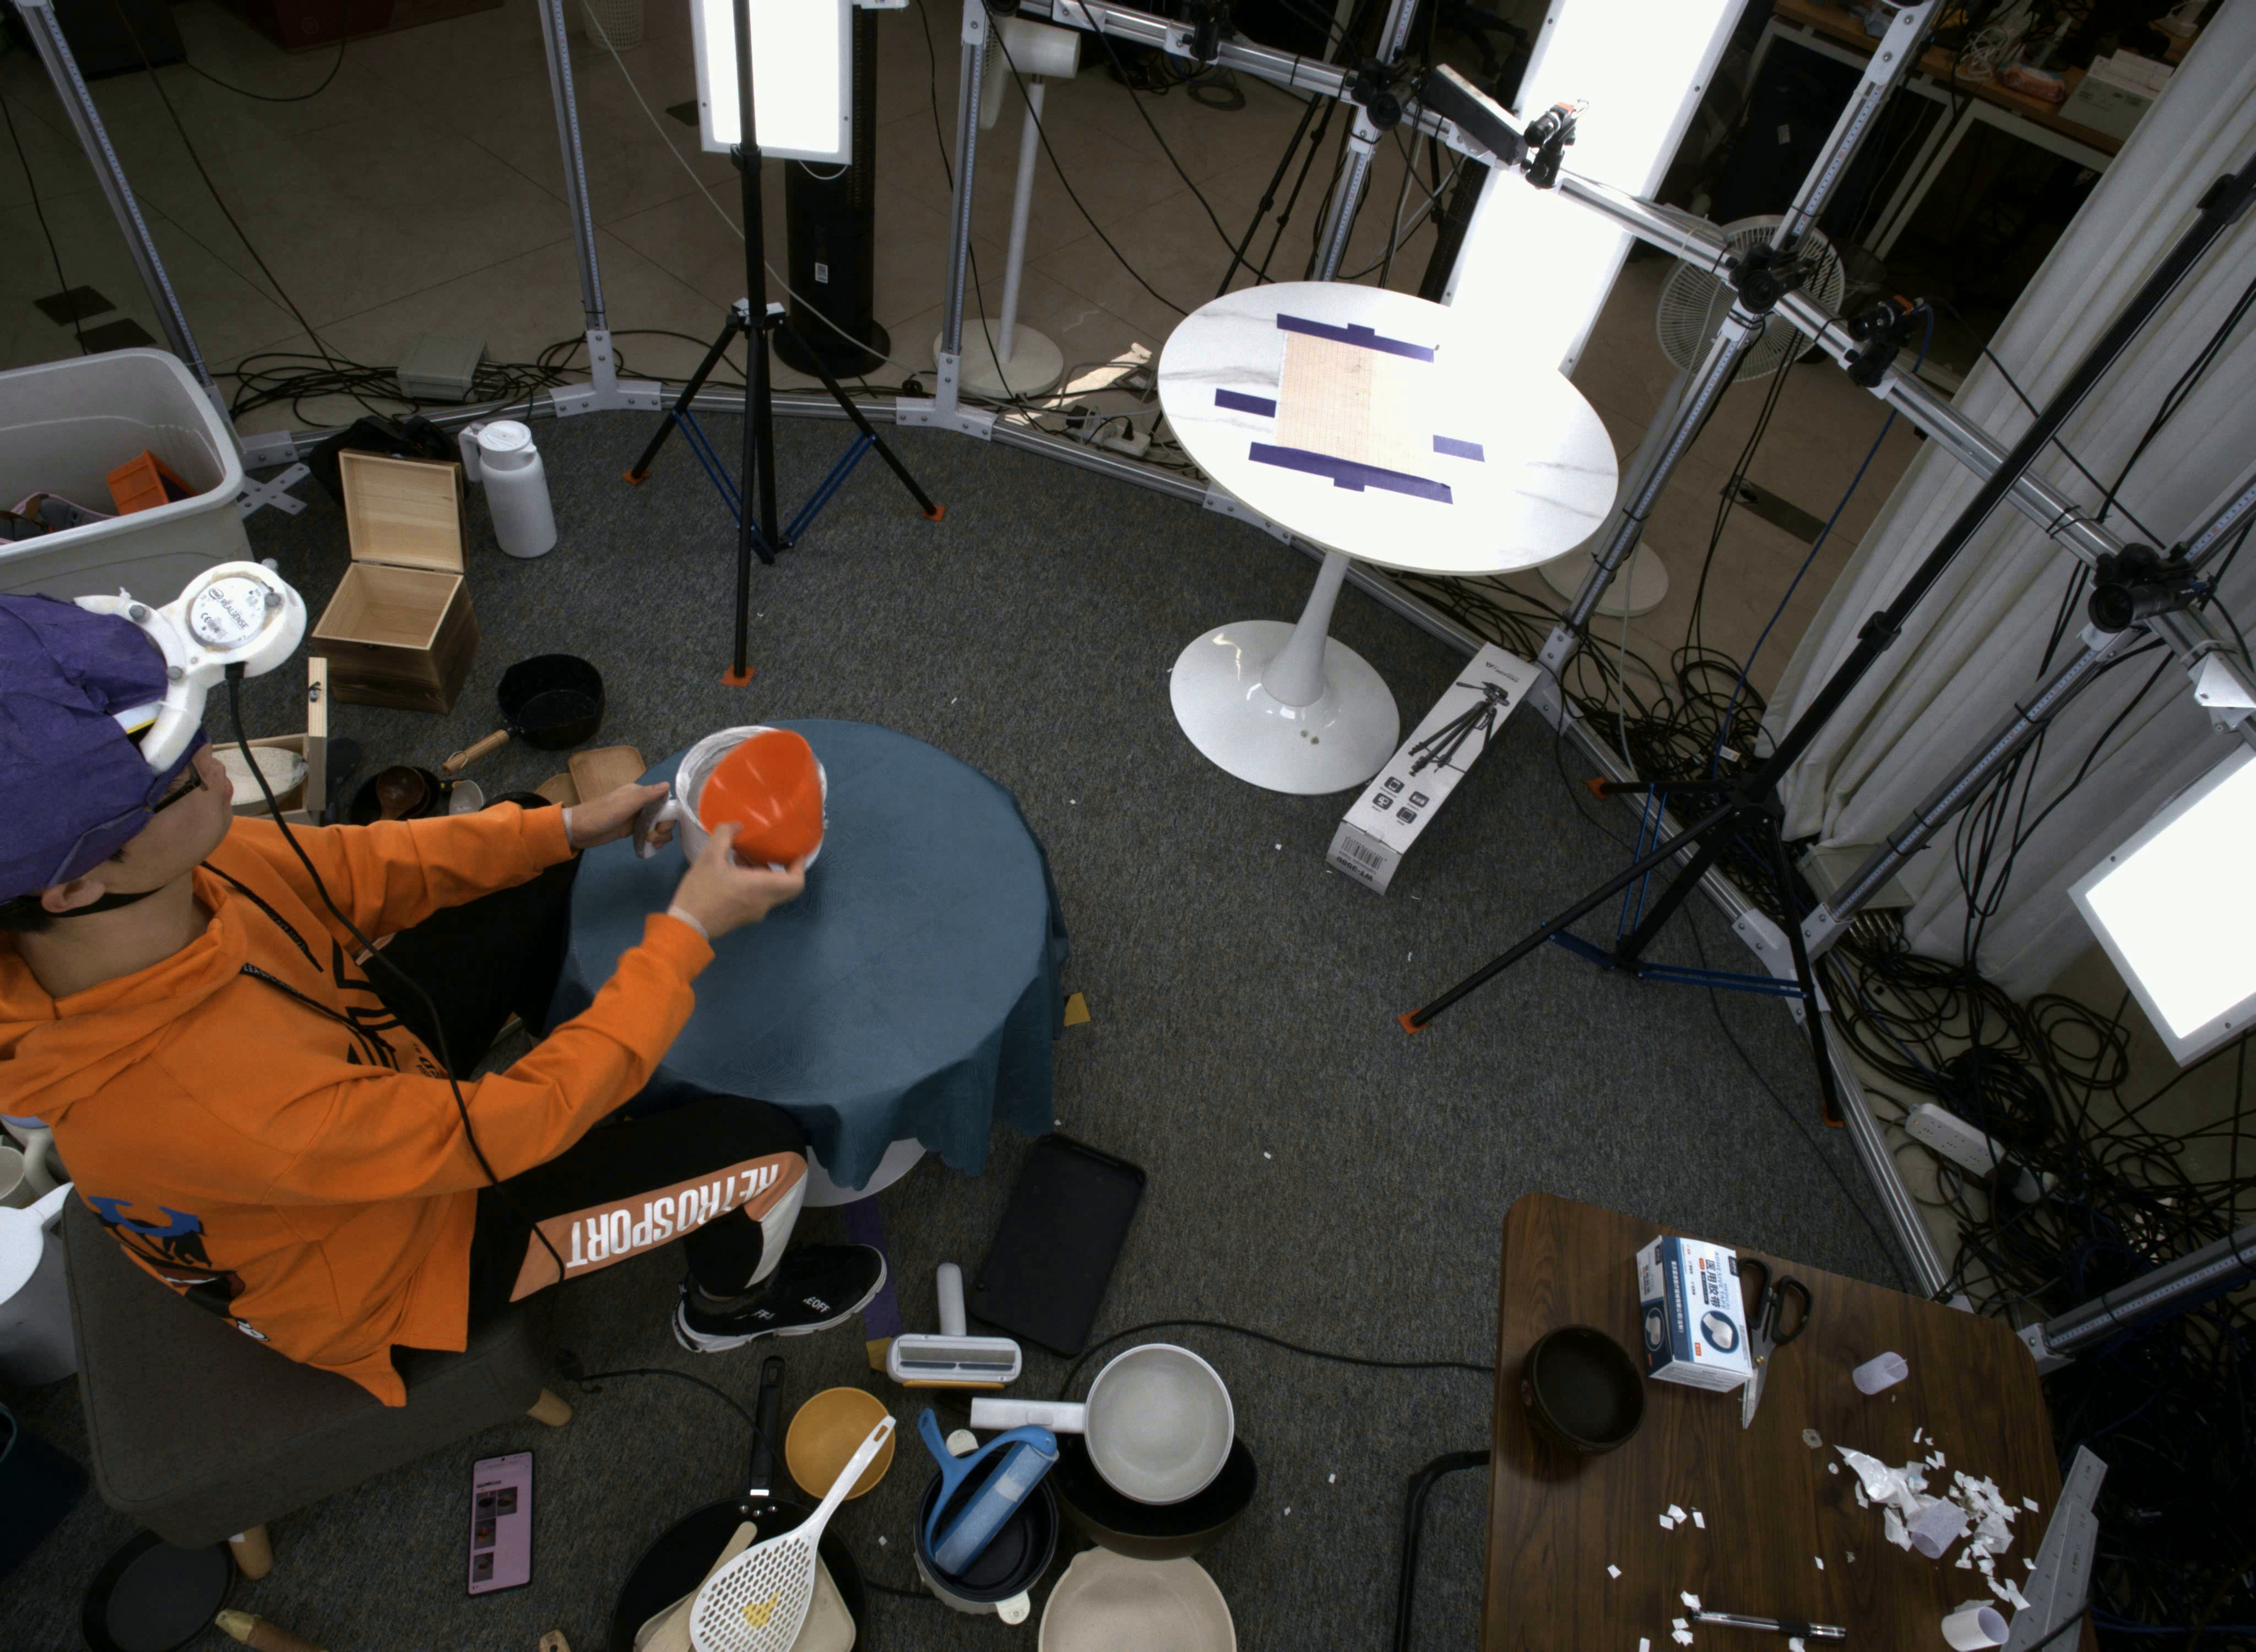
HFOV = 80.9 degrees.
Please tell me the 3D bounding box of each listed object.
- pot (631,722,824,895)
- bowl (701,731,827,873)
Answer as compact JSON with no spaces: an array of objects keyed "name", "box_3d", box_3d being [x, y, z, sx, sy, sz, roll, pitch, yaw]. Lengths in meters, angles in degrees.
[{"name":"pot","box_3d":[-0.490,-0.014,1.574,0.235,0.139,0.174,-10,58,-23]},{"name":"bowl","box_3d":[-0.389,-0.017,1.437,0.145,0.109,0.145,-14,45,16]}]
